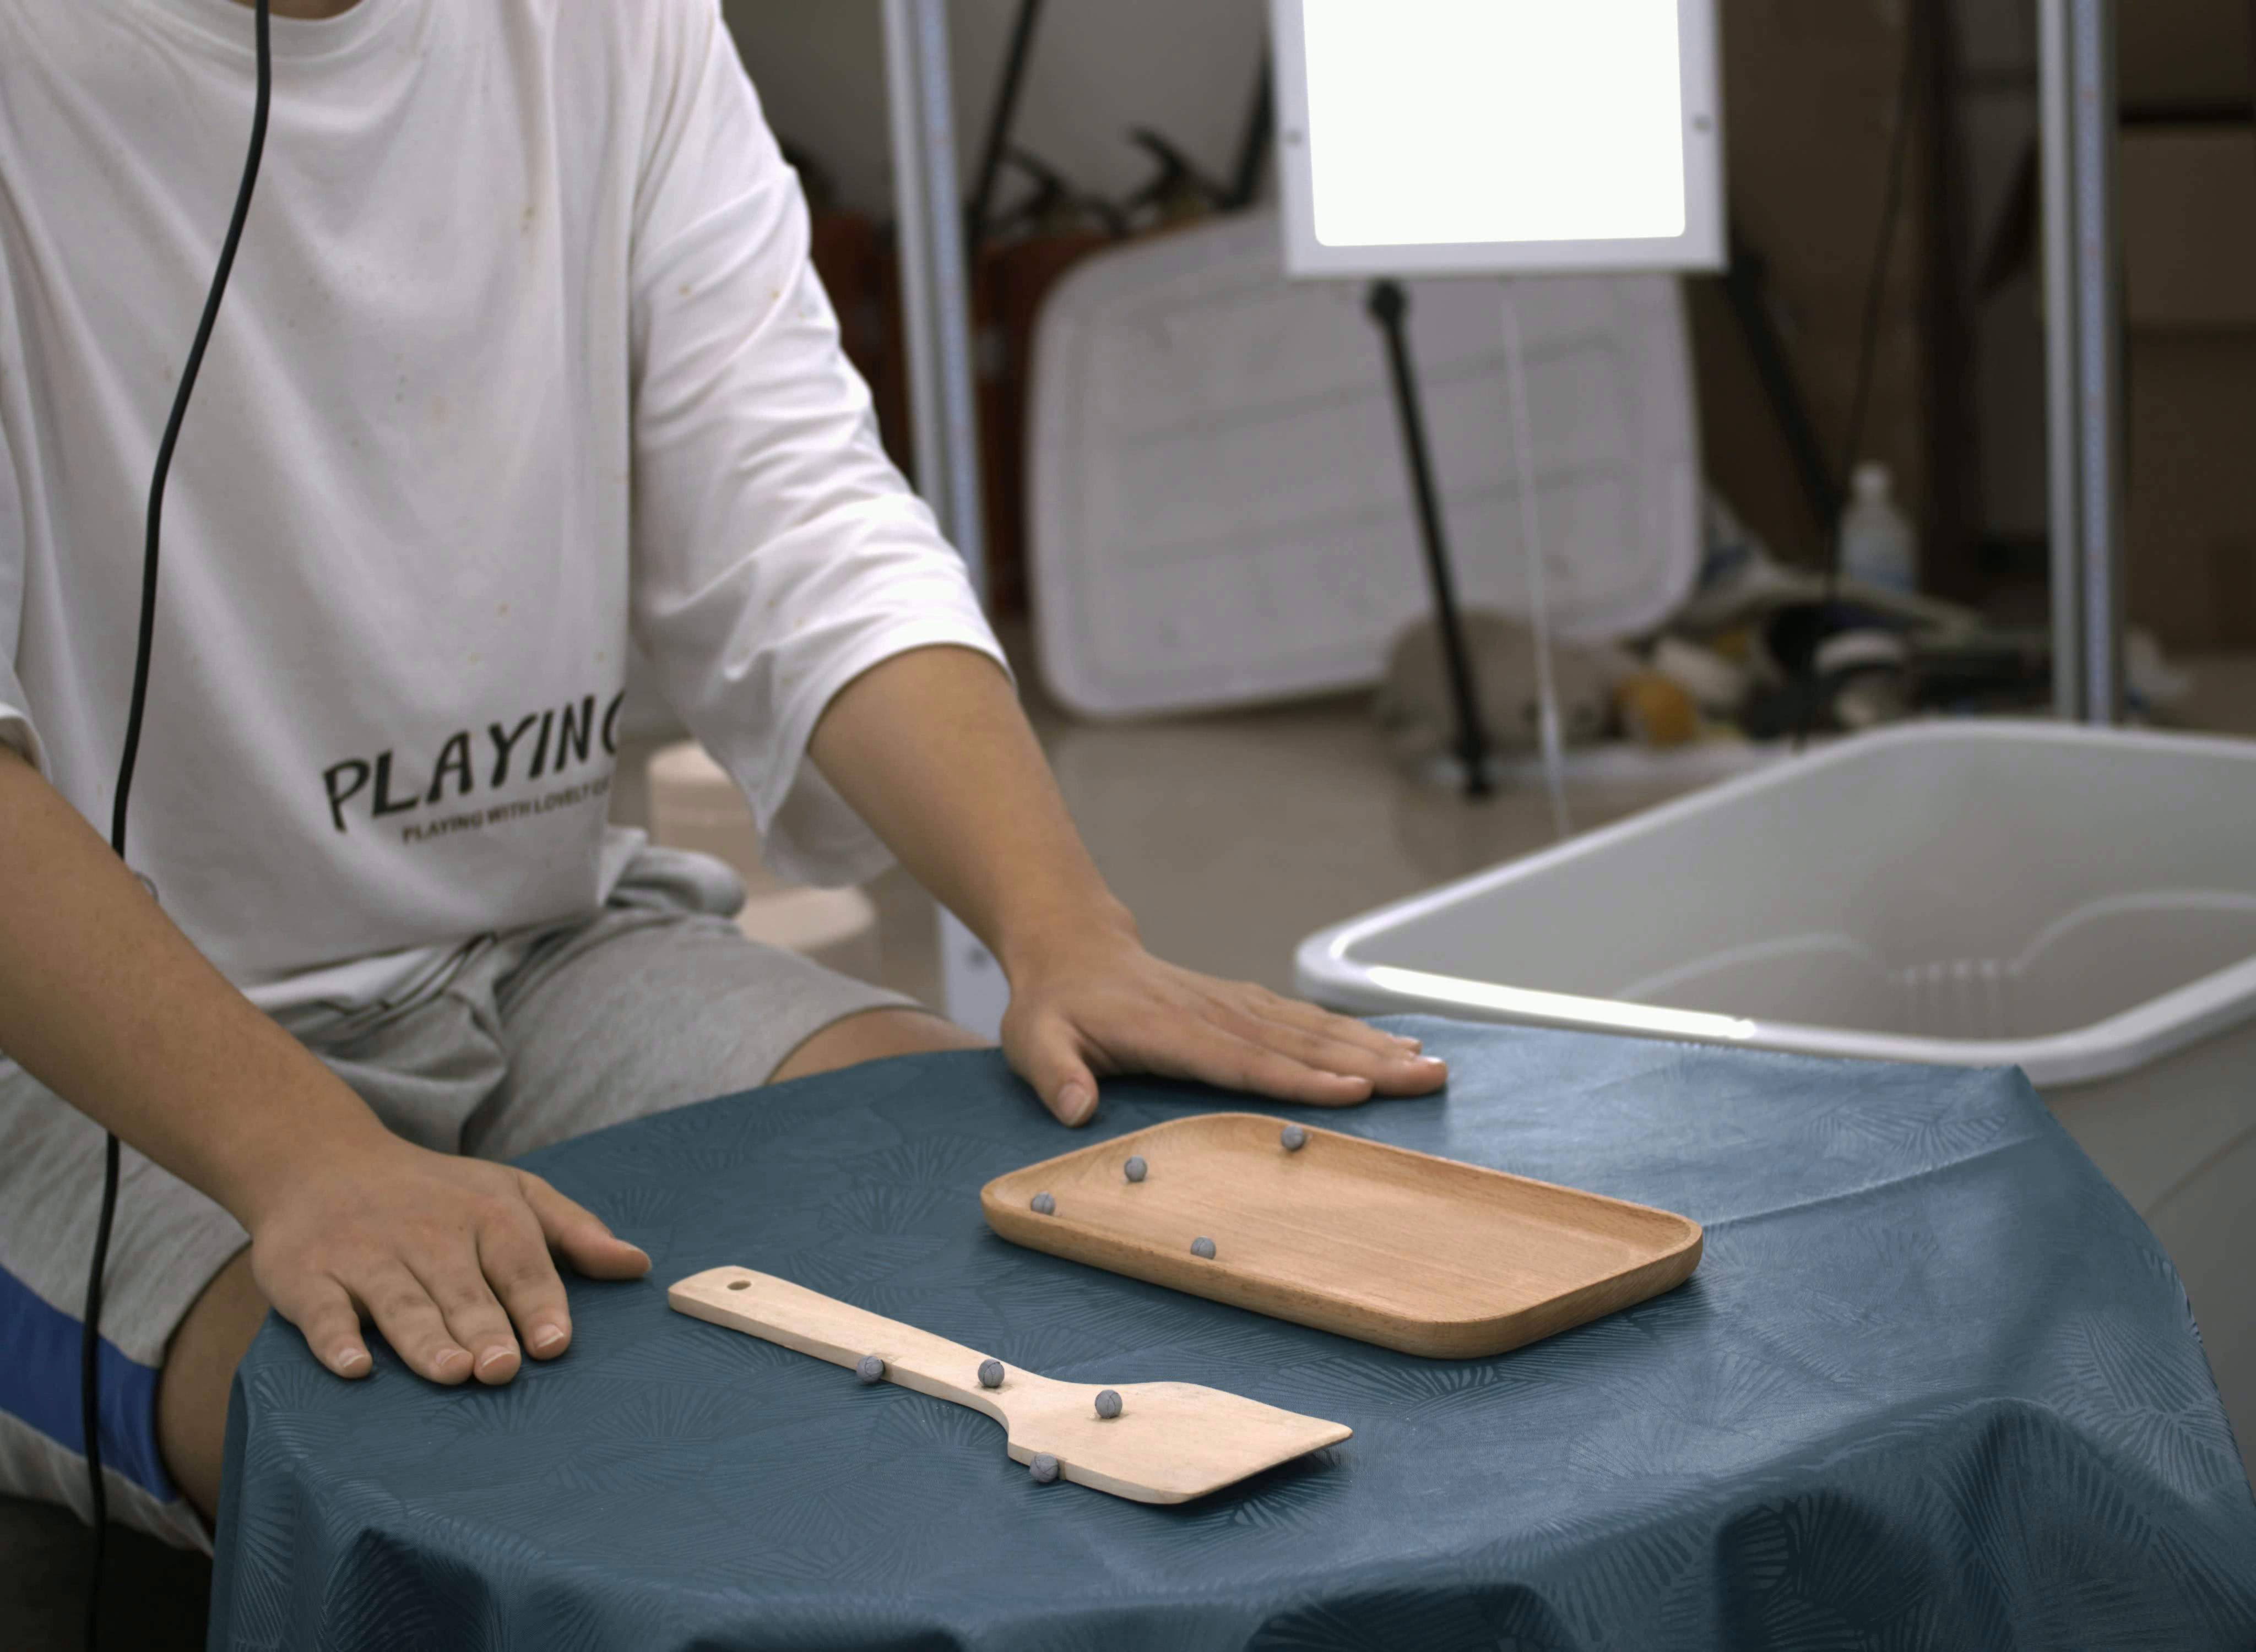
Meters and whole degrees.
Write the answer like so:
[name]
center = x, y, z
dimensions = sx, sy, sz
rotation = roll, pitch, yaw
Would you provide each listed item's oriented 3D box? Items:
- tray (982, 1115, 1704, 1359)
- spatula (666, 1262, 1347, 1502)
[tray]
center = 0.068, 0.133, 1.811
dimensions = 0.127, 0.023, 0.256
rotation = -18, 19, -35
[spatula]
center = -0.053, 0.170, 1.718
dimensions = 0.070, 0.011, 0.299
rotation = -17, 18, -37
